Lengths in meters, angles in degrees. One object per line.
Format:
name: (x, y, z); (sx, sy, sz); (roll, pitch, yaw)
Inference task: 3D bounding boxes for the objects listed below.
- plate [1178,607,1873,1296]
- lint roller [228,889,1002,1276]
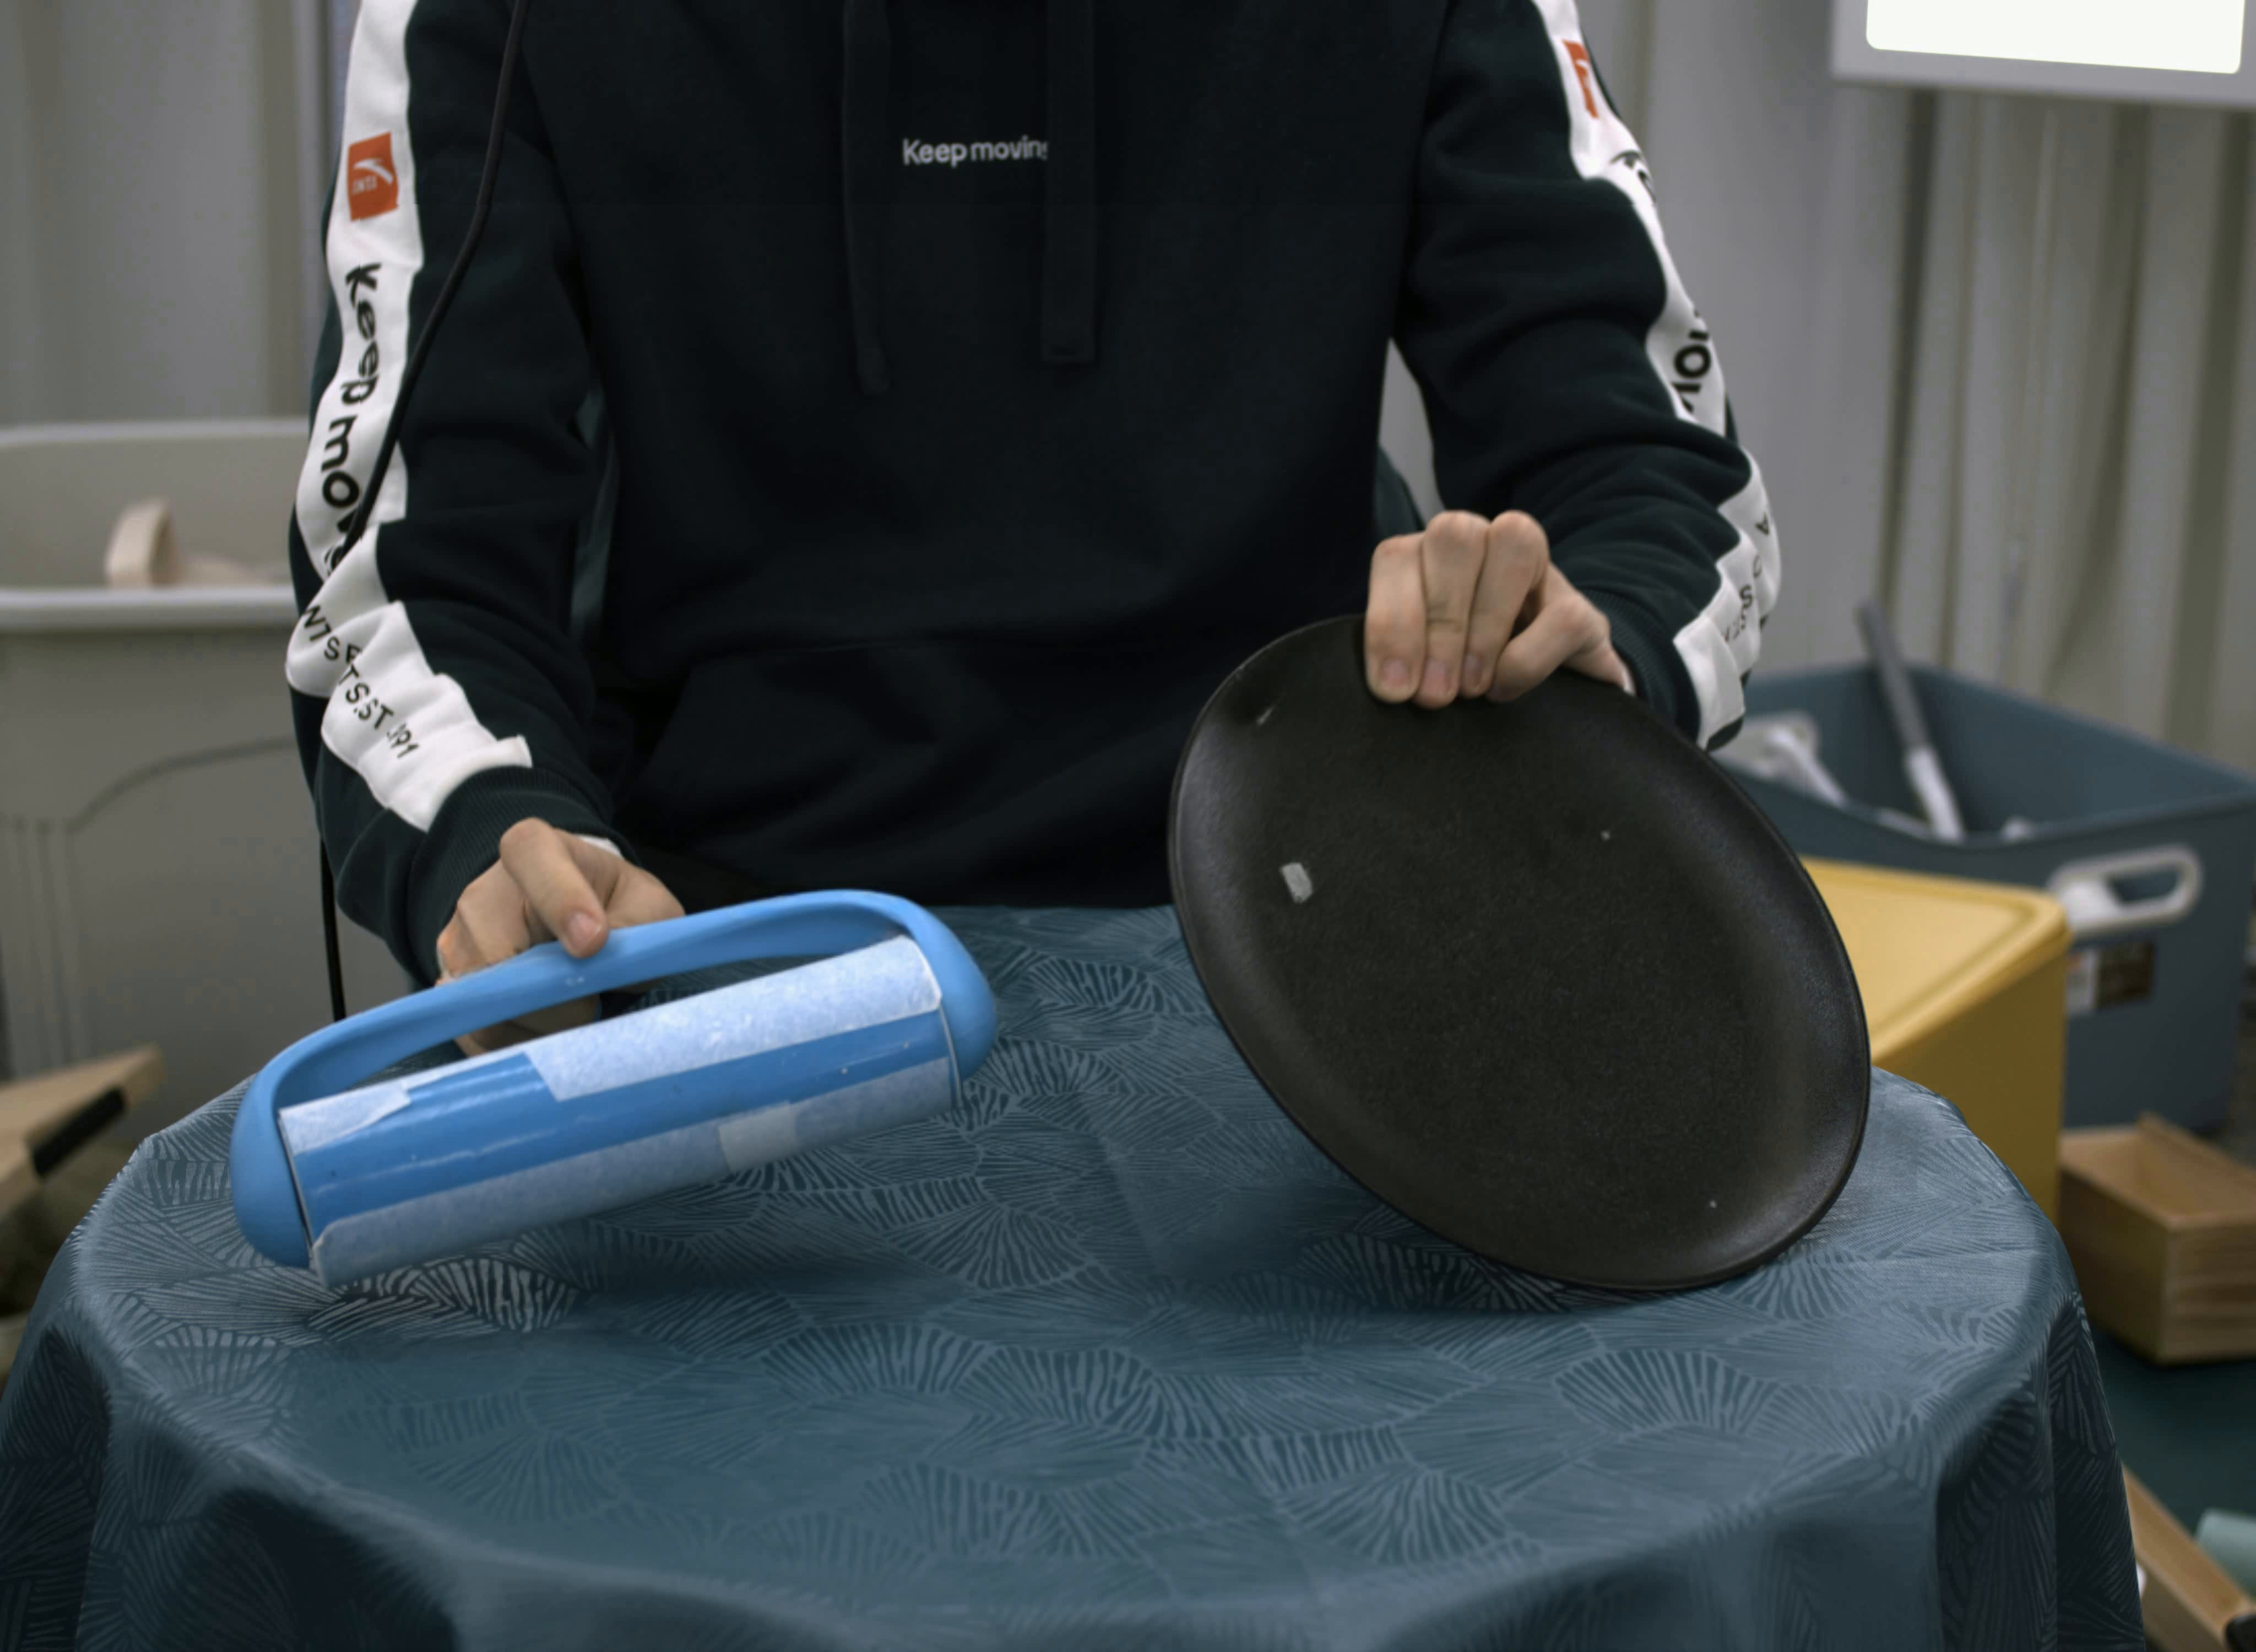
plate: (0.118, 0.038, 1.593); (0.246, 0.023, 0.242); (19, 49, -22)
lint roller: (-0.164, 0.065, 1.574); (0.229, 0.068, 0.178); (-17, 17, -14)
